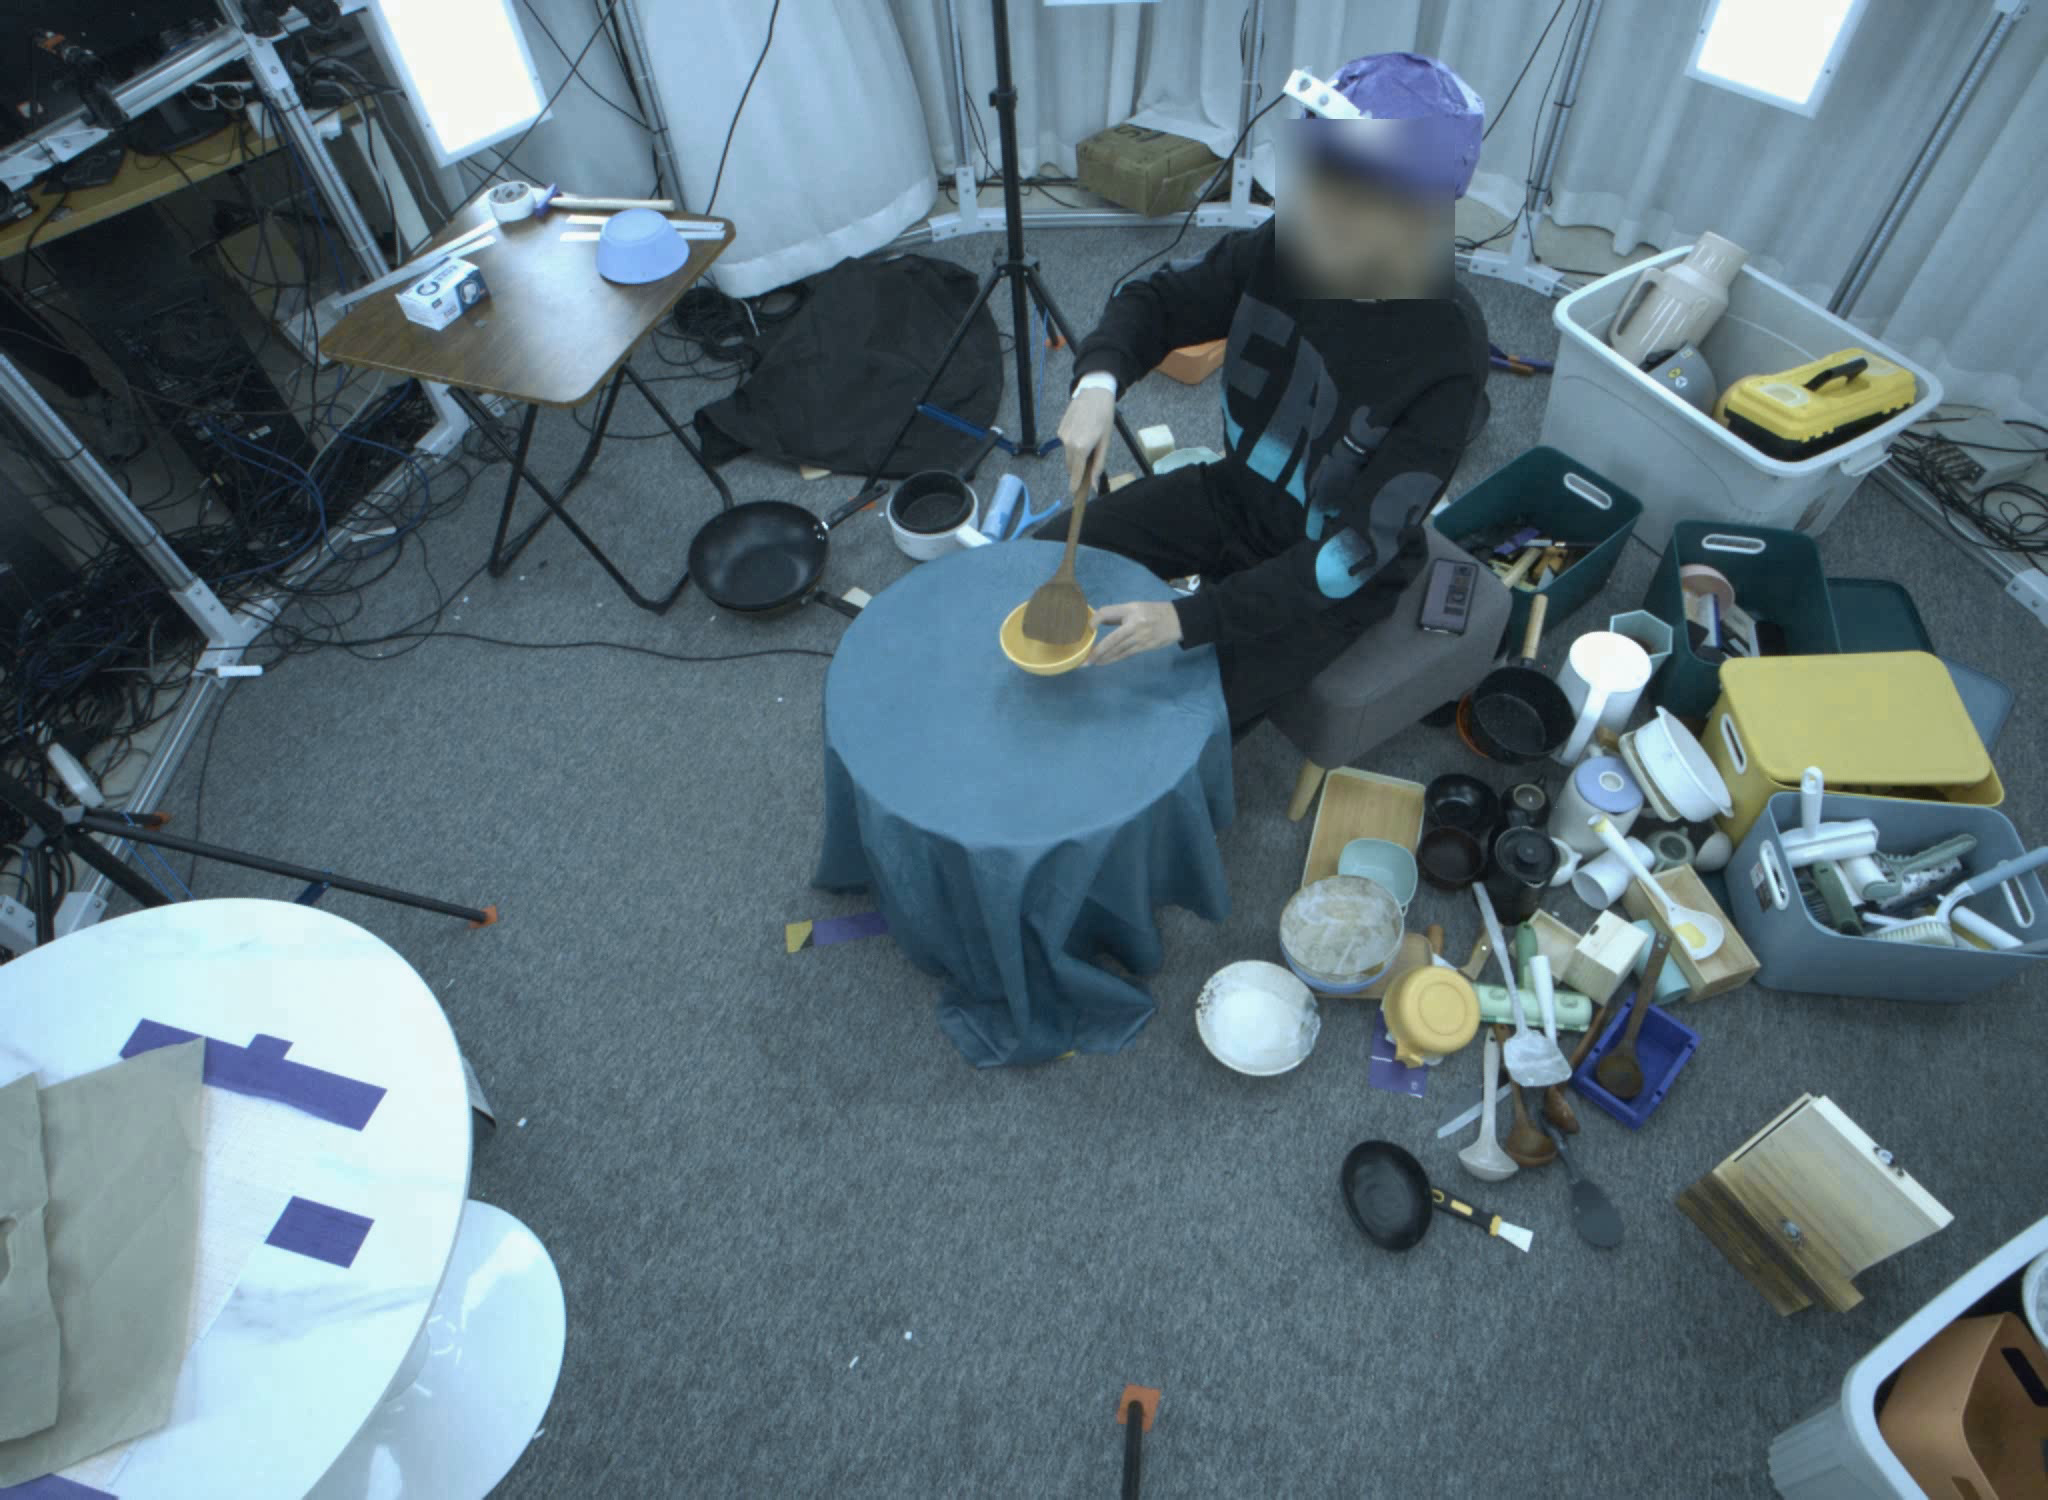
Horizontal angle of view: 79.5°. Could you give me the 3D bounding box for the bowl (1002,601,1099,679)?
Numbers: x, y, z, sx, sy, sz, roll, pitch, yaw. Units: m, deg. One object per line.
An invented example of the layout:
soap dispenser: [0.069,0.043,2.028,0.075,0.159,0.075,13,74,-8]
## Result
bowl: [0.043,-0.153,1.820,0.145,0.061,0.144,-4,54,6]

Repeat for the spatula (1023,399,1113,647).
spatula: [0.079,-0.339,1.794,0.095,0.016,0.385,11,89,12]
